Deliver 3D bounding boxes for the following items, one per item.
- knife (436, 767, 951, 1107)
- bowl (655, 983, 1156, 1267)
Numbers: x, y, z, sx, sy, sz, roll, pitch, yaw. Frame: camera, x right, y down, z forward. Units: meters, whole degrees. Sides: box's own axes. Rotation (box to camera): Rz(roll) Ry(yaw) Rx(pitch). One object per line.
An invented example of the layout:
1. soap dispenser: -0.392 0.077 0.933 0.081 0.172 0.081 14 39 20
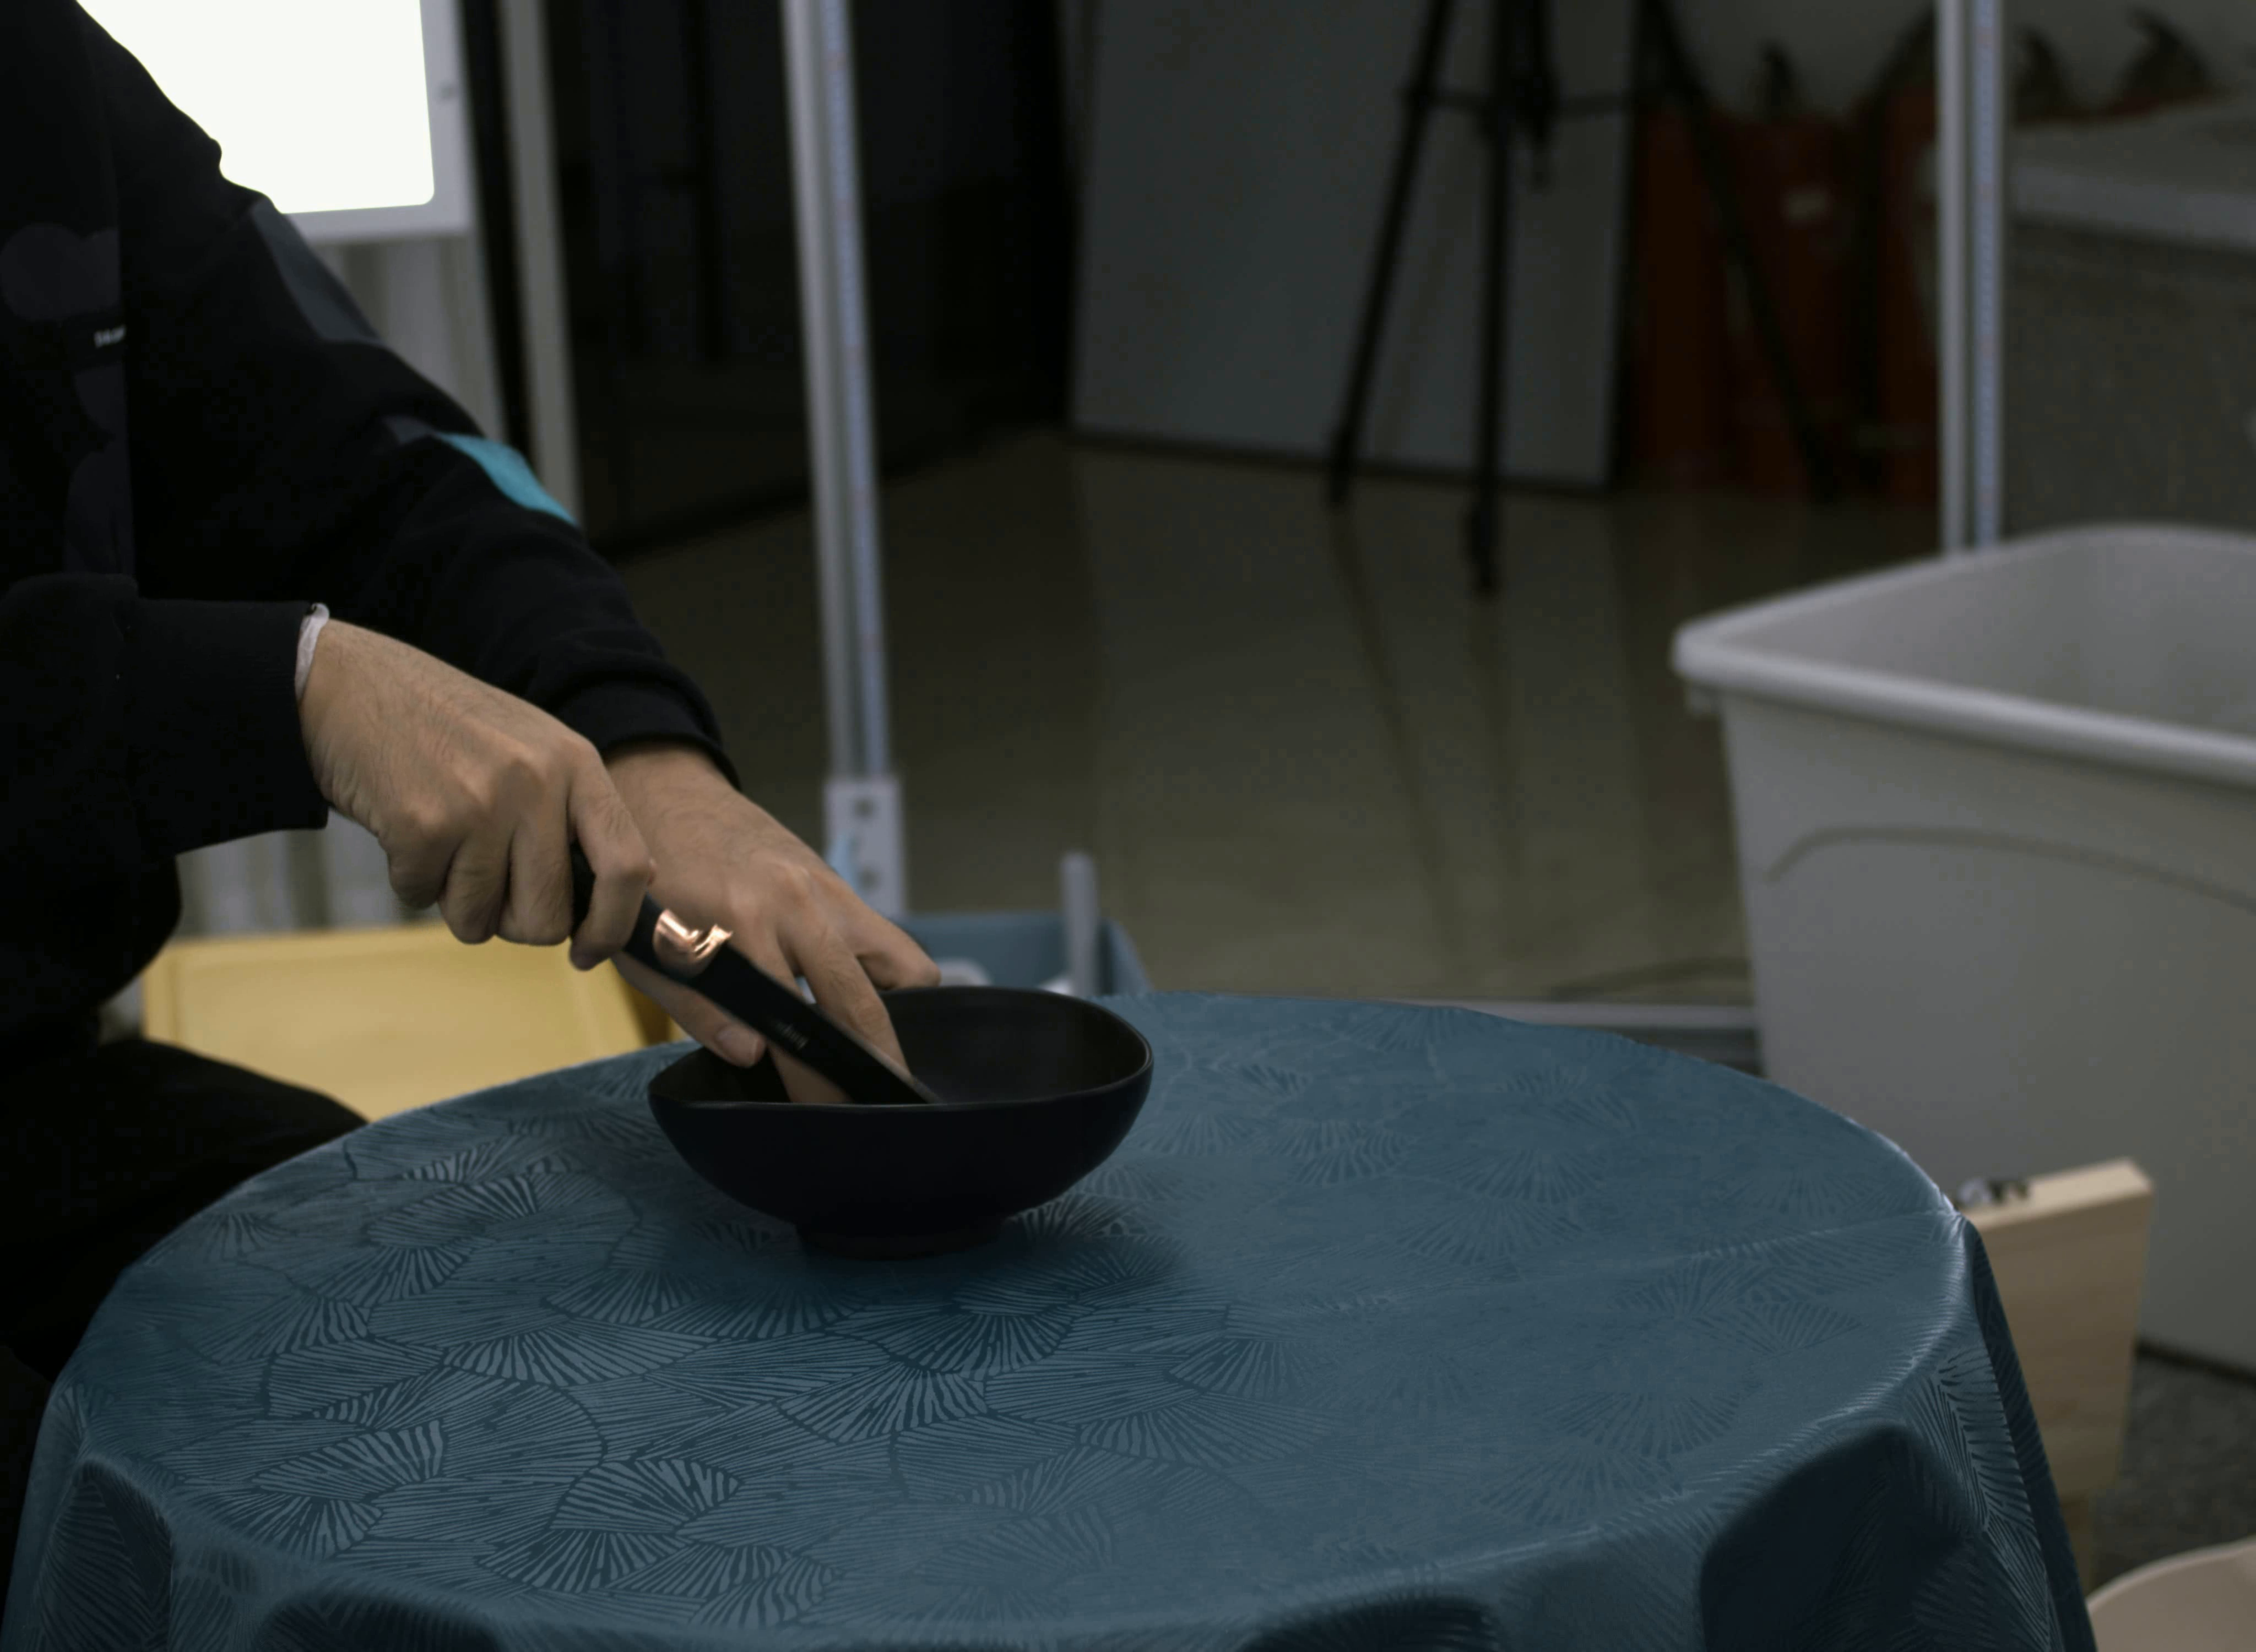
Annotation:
1. knife: -0.132 0.047 1.753 0.225 0.026 0.017 34 28 12
2. bowl: -0.071 0.101 1.738 0.170 0.067 0.136 -2 13 18
